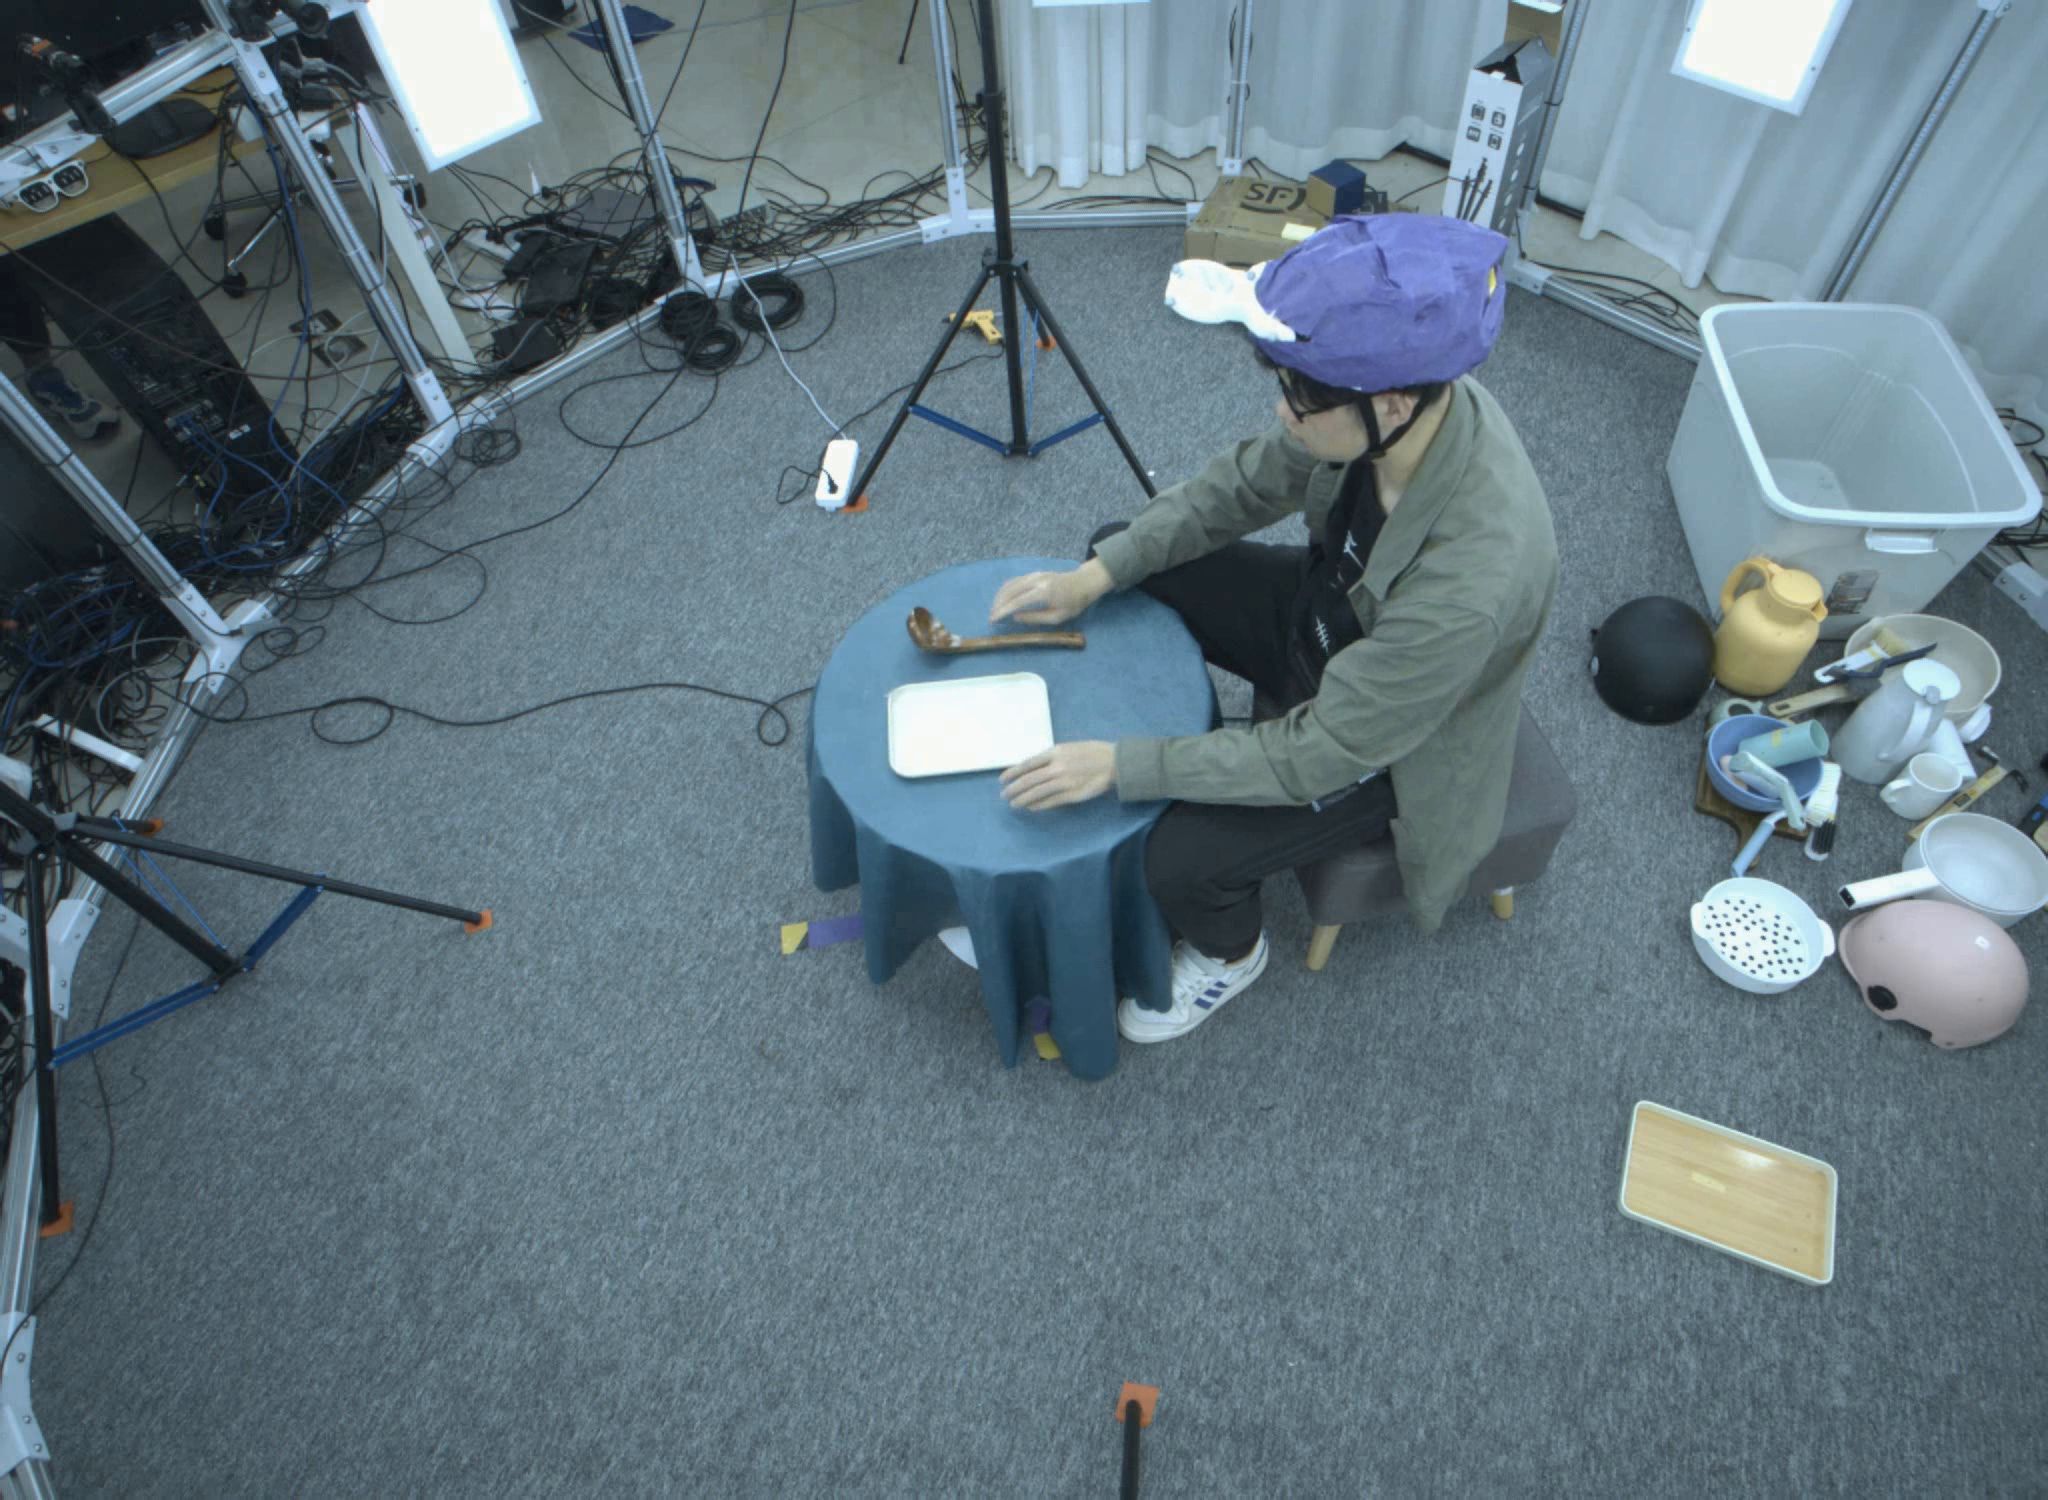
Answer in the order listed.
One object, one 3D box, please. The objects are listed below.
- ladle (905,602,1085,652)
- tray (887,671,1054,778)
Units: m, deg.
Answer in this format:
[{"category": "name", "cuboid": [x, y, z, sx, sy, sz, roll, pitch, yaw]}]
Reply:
[{"category": "ladle", "cuboid": [-0.045, -0.188, 1.881, 0.274, 0.077, 0.081, 0, 43, 1]}, {"category": "tray", "cuboid": [-0.080, -0.037, 1.810, 0.240, 0.017, 0.169, -6, 55, -3]}]
